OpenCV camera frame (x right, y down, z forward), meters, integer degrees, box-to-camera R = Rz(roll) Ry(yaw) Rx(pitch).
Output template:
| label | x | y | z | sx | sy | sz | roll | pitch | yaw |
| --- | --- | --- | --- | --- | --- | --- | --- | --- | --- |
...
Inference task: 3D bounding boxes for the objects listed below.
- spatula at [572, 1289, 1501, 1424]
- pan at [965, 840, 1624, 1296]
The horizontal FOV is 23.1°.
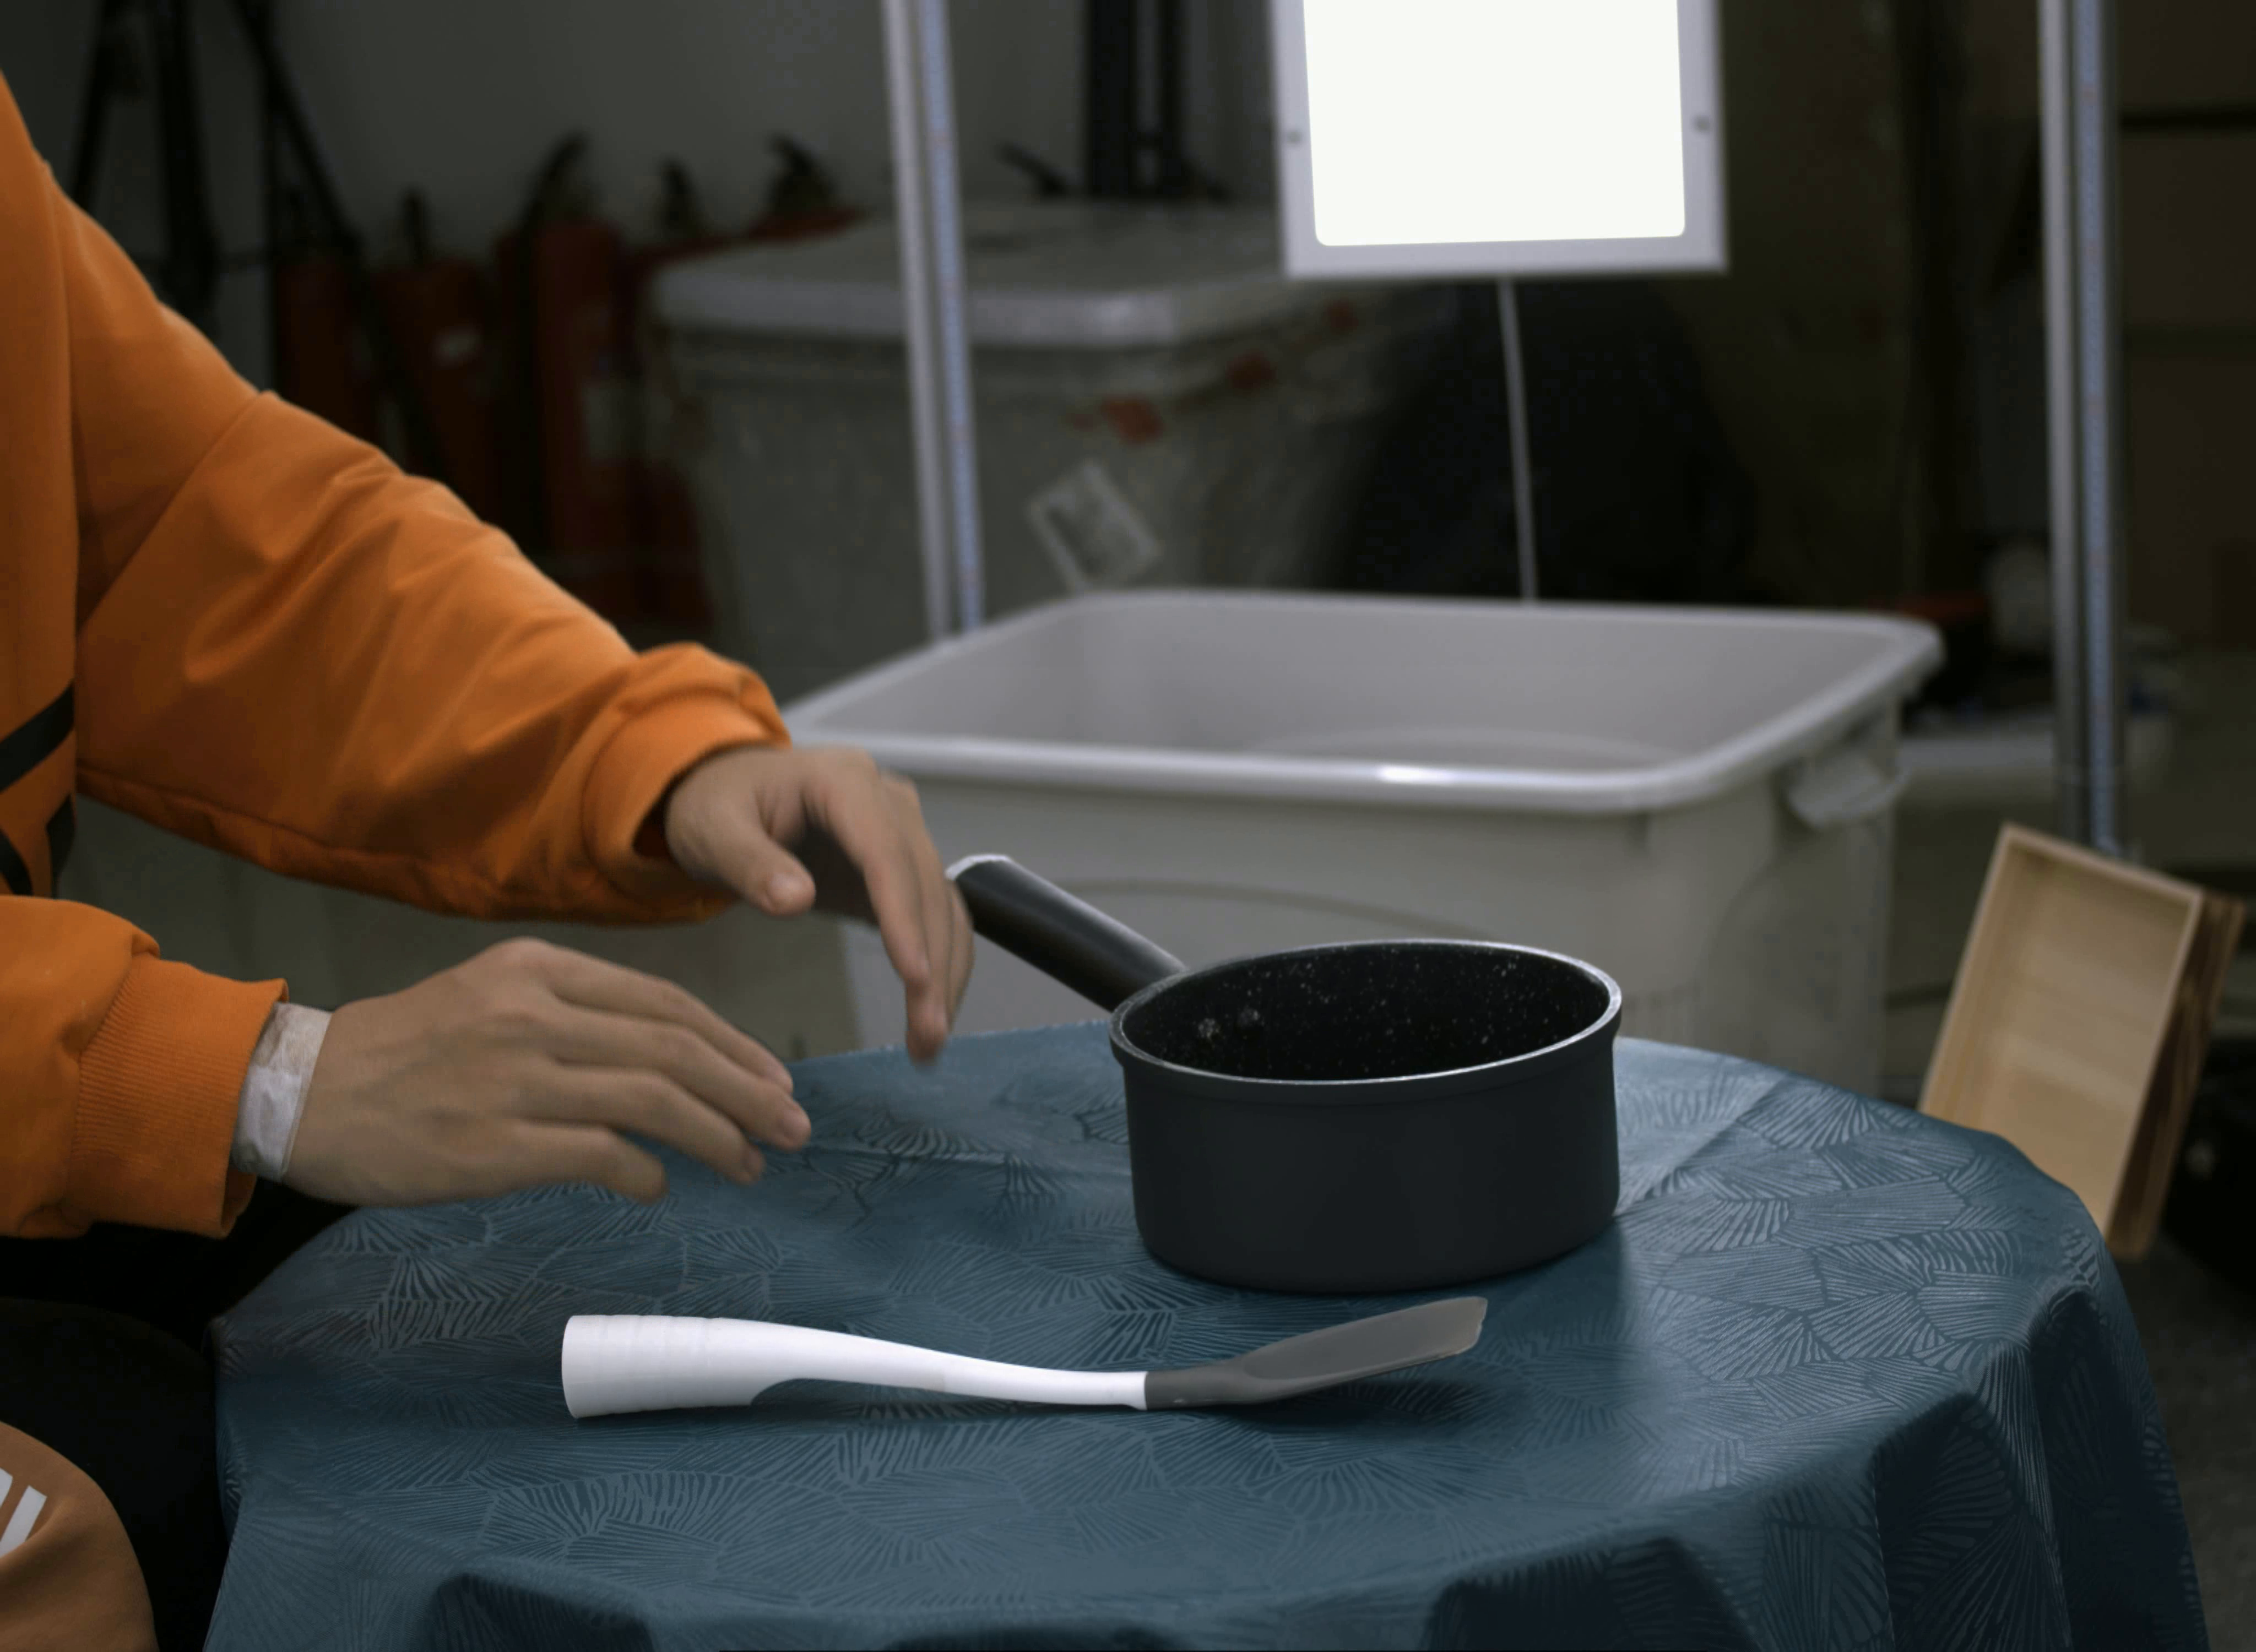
| label | x | y | z | sx | sy | sz | roll | pitch | yaw |
| --- | --- | --- | --- | --- | --- | --- | --- | --- | --- |
| spatula | -0.028 | 0.164 | 1.690 | 0.289 | 0.032 | 0.058 | -3 | 10 | 12 |
| pan | 0.039 | 0.079 | 1.899 | 0.168 | 0.087 | 0.335 | -12 | 17 | -29 |
